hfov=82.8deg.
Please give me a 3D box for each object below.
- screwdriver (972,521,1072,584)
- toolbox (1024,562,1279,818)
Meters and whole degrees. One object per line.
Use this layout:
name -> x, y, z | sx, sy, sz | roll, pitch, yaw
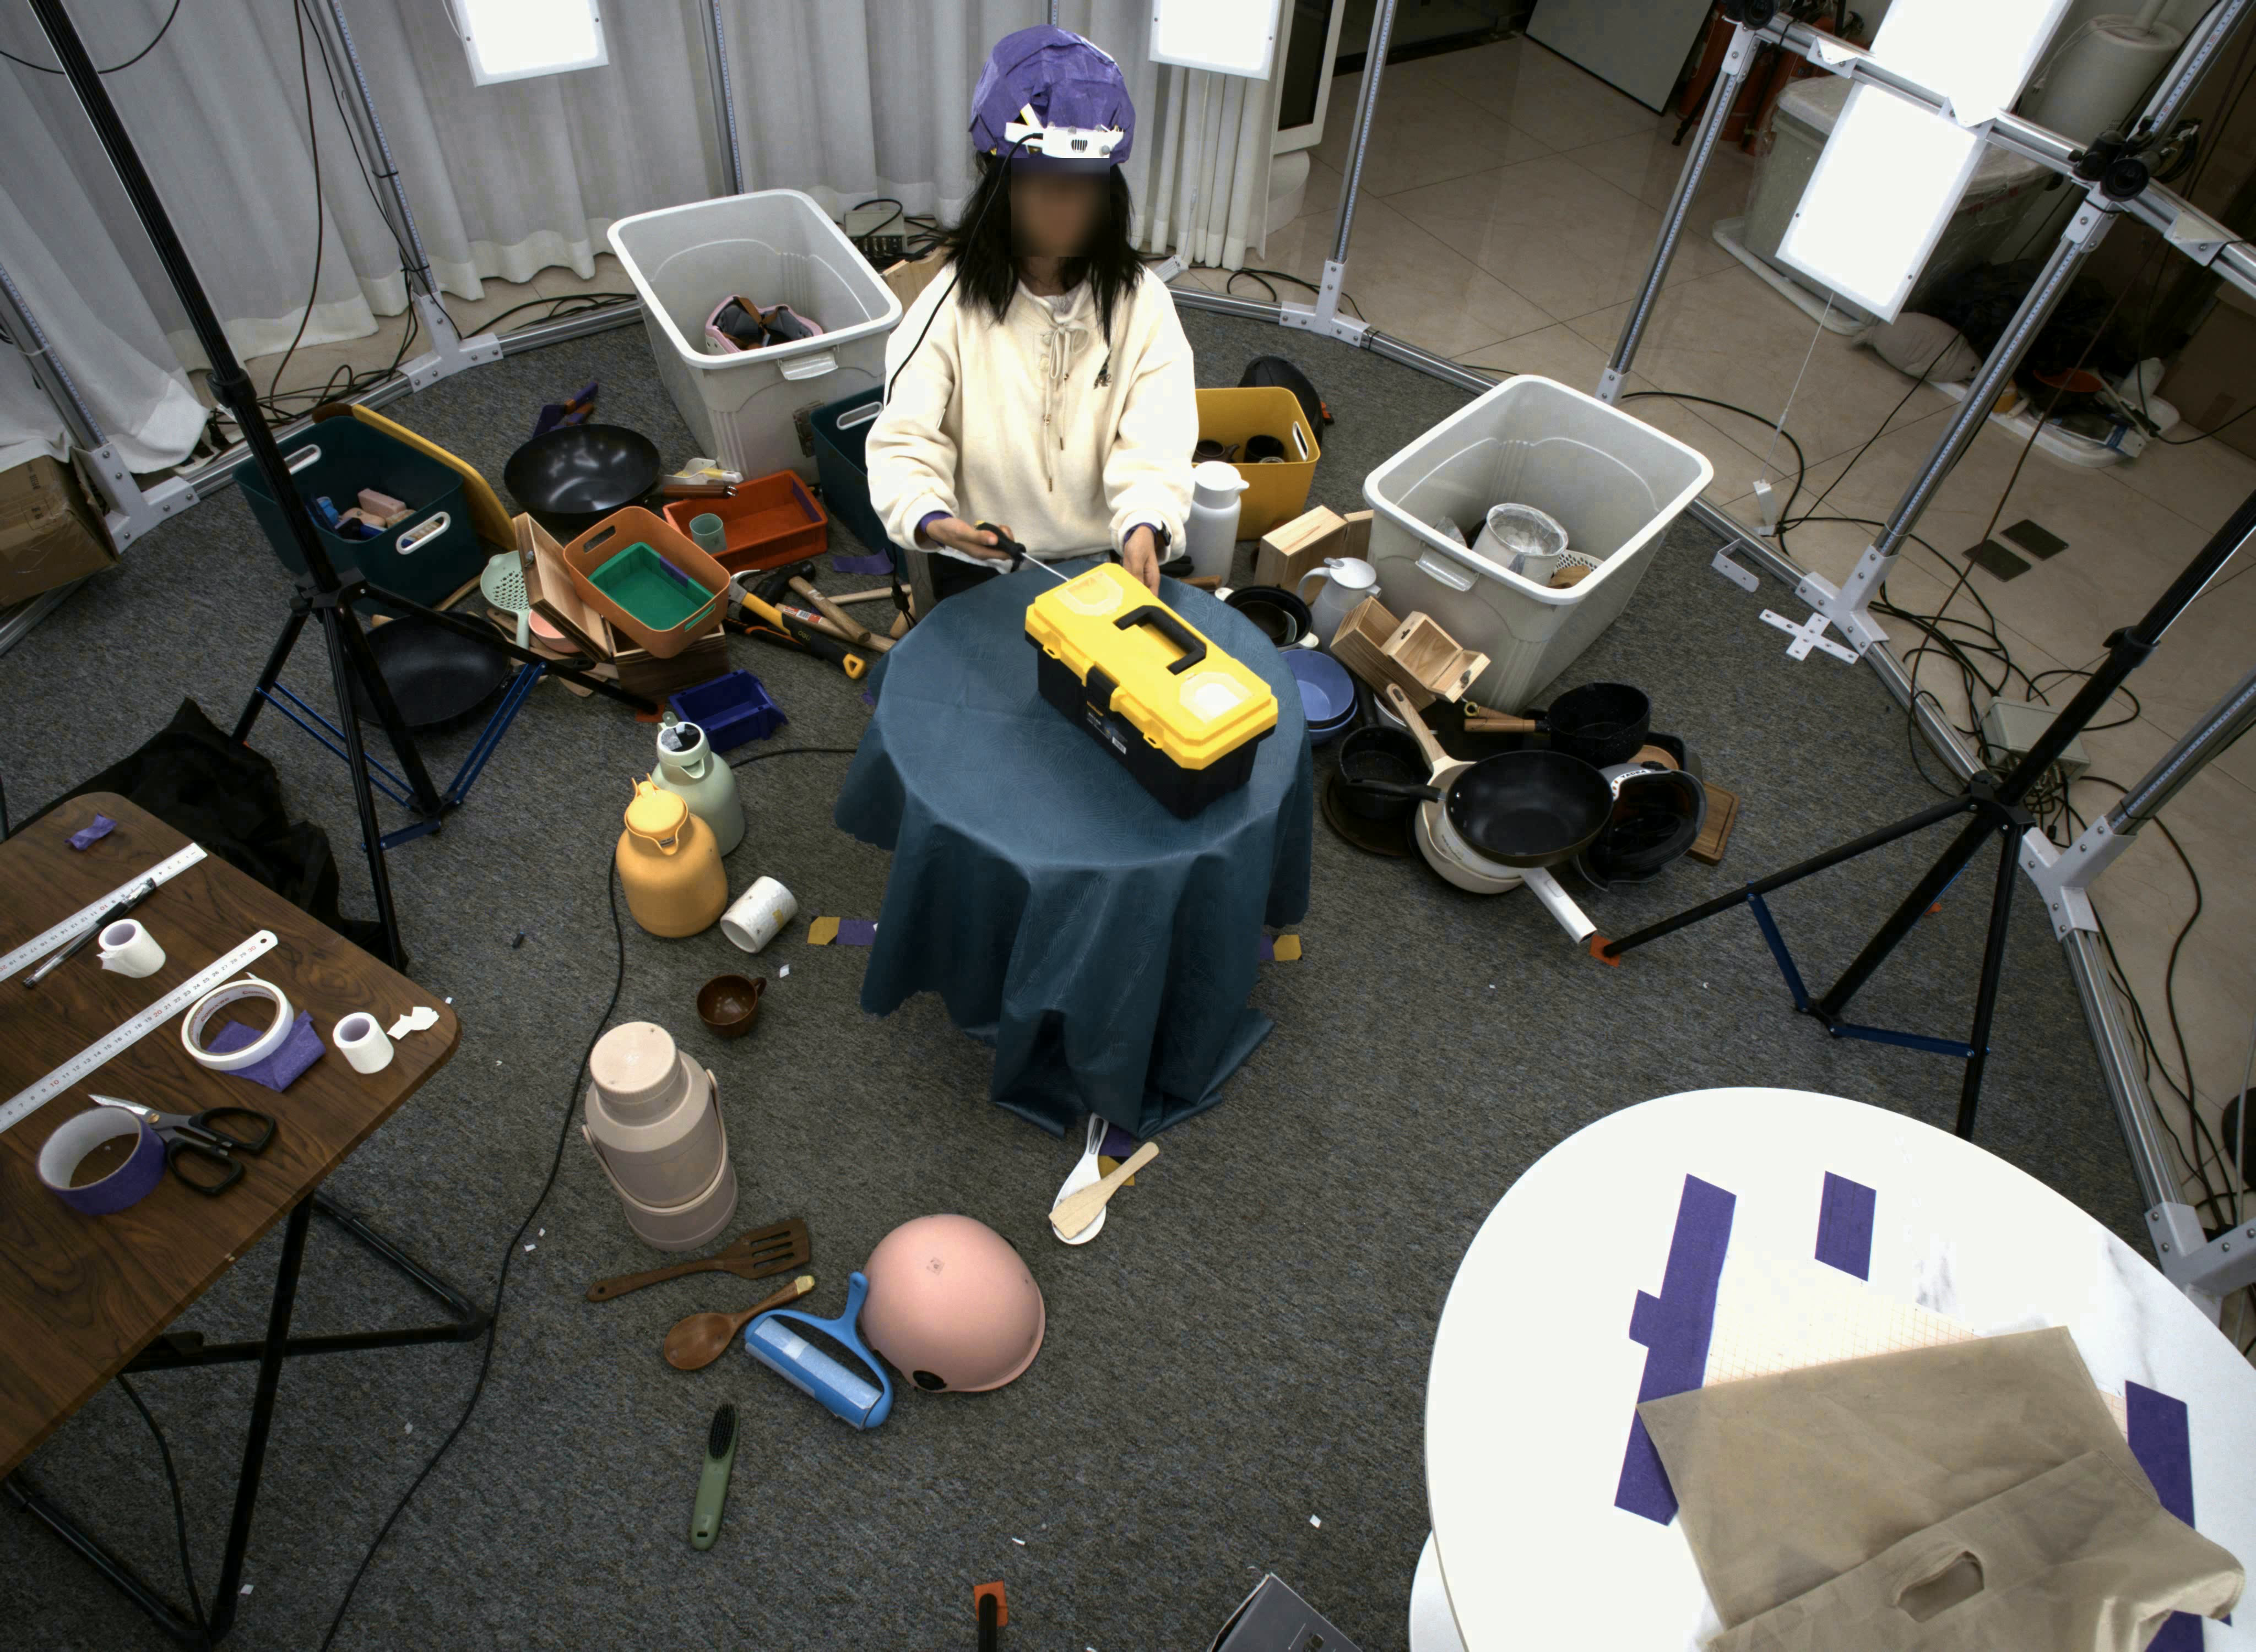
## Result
screwdriver -> -0.146, -0.377, 1.801 | 0.199, 0.031, 0.032 | 37, 56, 27
toolbox -> 0.023, -0.182, 1.718 | 0.182, 0.168, 0.357 | -30, 58, -27
